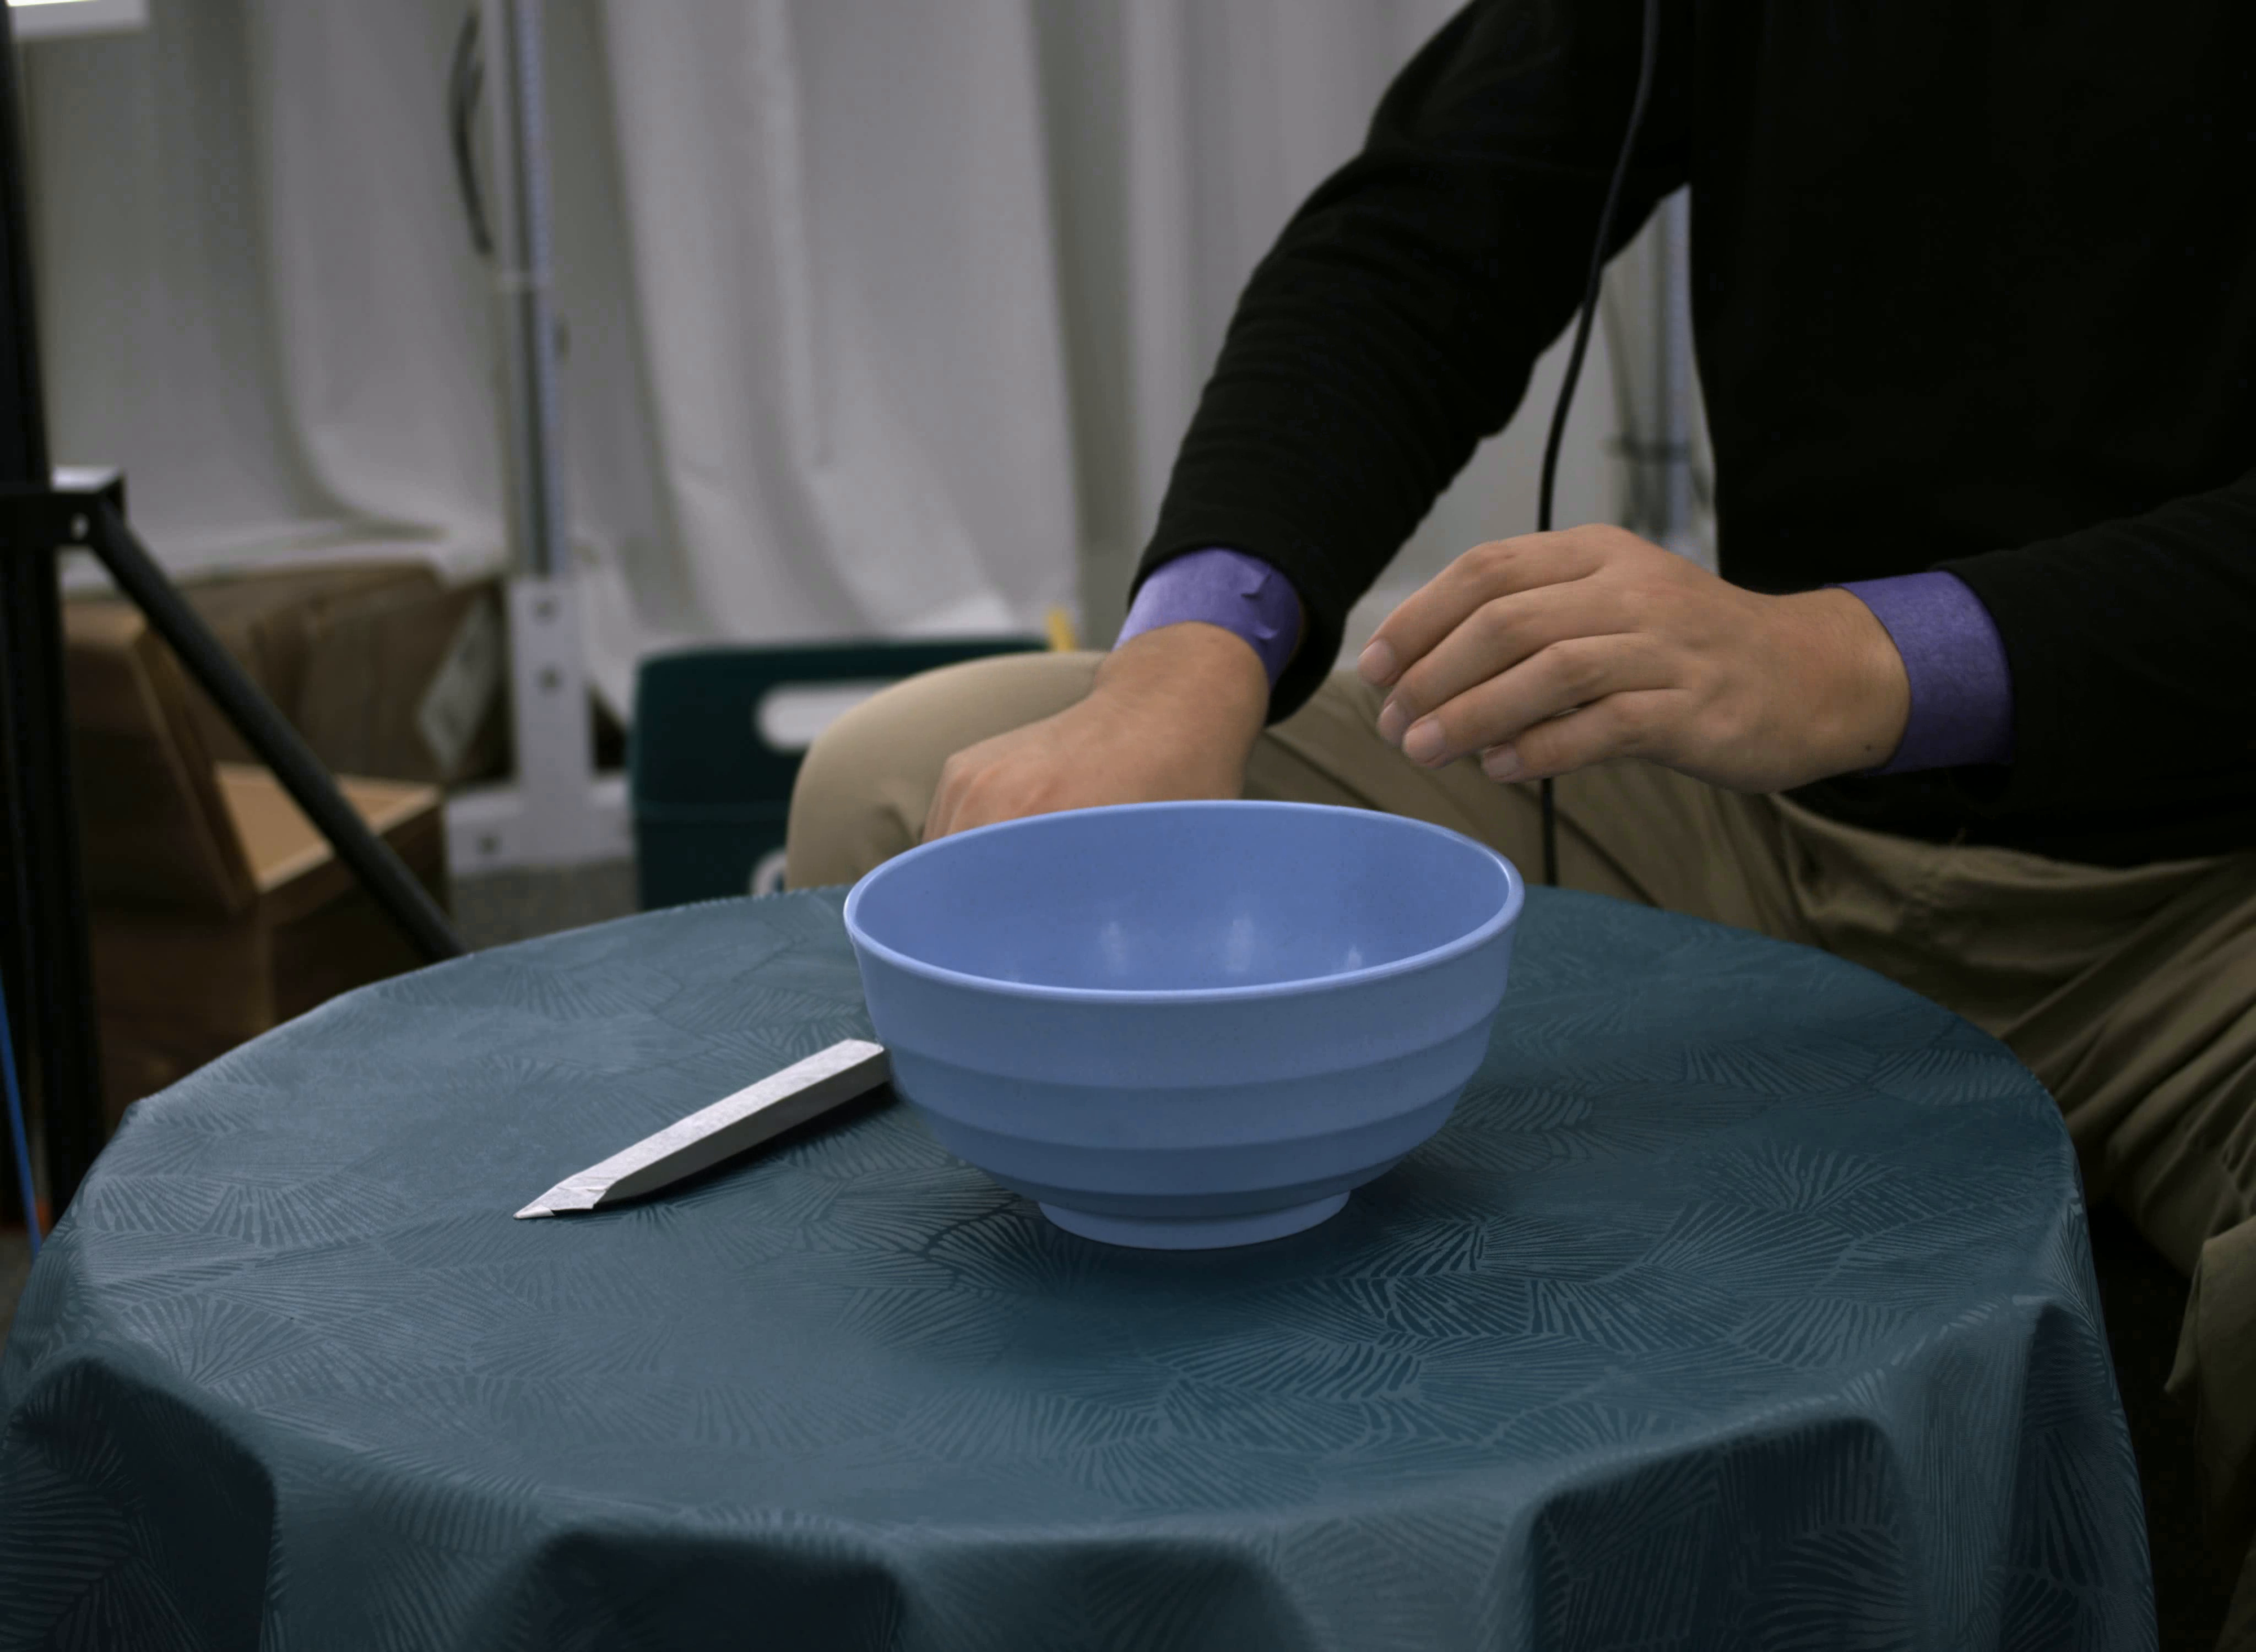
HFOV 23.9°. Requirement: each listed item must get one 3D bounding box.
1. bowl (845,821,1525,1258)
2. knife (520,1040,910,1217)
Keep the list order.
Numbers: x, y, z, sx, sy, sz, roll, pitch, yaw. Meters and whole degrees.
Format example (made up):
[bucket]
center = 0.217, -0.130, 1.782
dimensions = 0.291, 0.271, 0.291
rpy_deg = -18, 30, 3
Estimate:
[bowl]
center = 0.017, 0.066, 1.537
dimensions = 0.195, 0.095, 0.197
rpy_deg = -2, 14, -1
[knife]
center = -0.083, 0.076, 1.656
dimensions = 0.051, 0.020, 0.283
rpy_deg = 2, 18, 42
